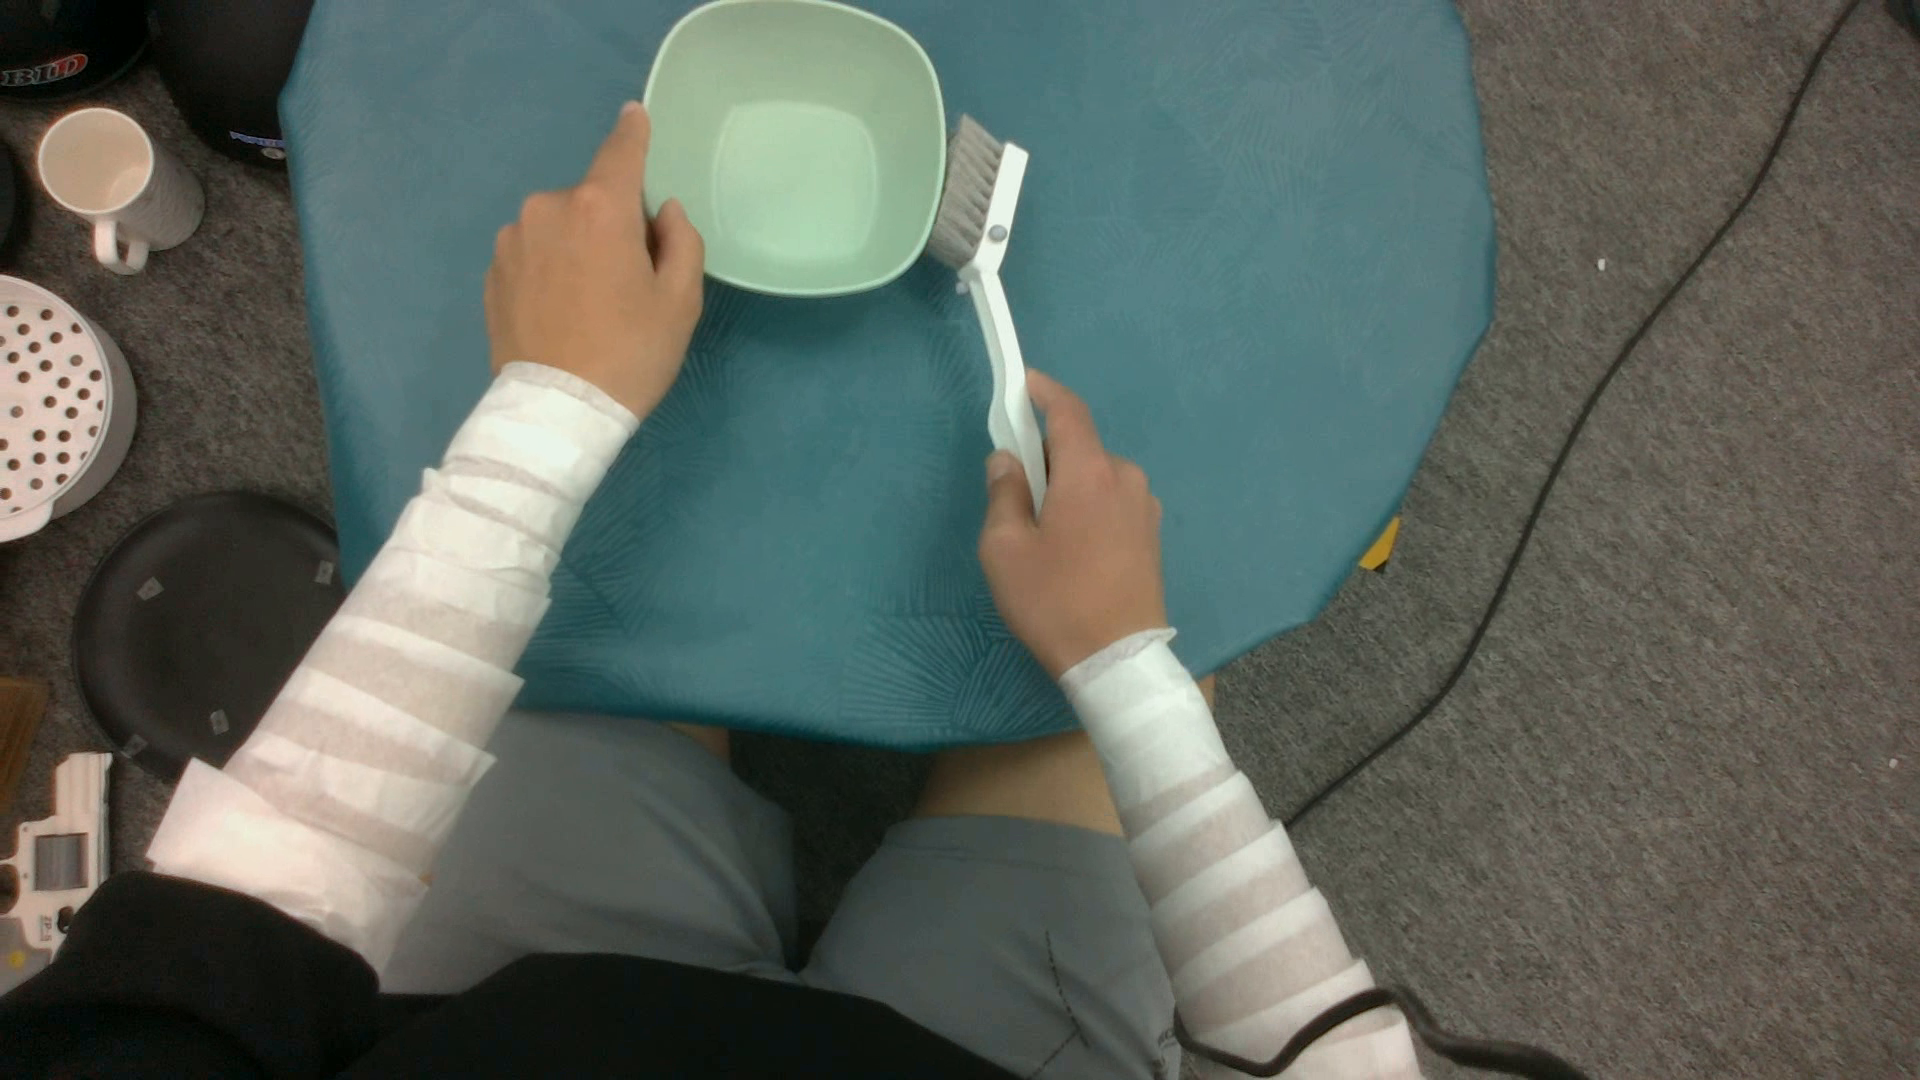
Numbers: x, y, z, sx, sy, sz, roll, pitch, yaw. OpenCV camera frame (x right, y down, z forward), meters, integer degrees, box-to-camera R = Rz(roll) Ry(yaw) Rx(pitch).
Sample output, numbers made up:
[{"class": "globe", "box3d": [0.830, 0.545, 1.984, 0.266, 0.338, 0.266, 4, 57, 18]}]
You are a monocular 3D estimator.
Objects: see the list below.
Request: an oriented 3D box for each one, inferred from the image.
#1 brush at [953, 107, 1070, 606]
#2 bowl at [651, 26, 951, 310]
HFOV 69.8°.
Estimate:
[{"class": "brush", "box3d": [0.024, -0.089, 0.659, 0.050, 0.034, 0.244, 3, 78, -23]}, {"class": "bowl", "box3d": [-0.075, -0.171, 0.668, 0.151, 0.058, 0.151, 1, 81, -3]}]
